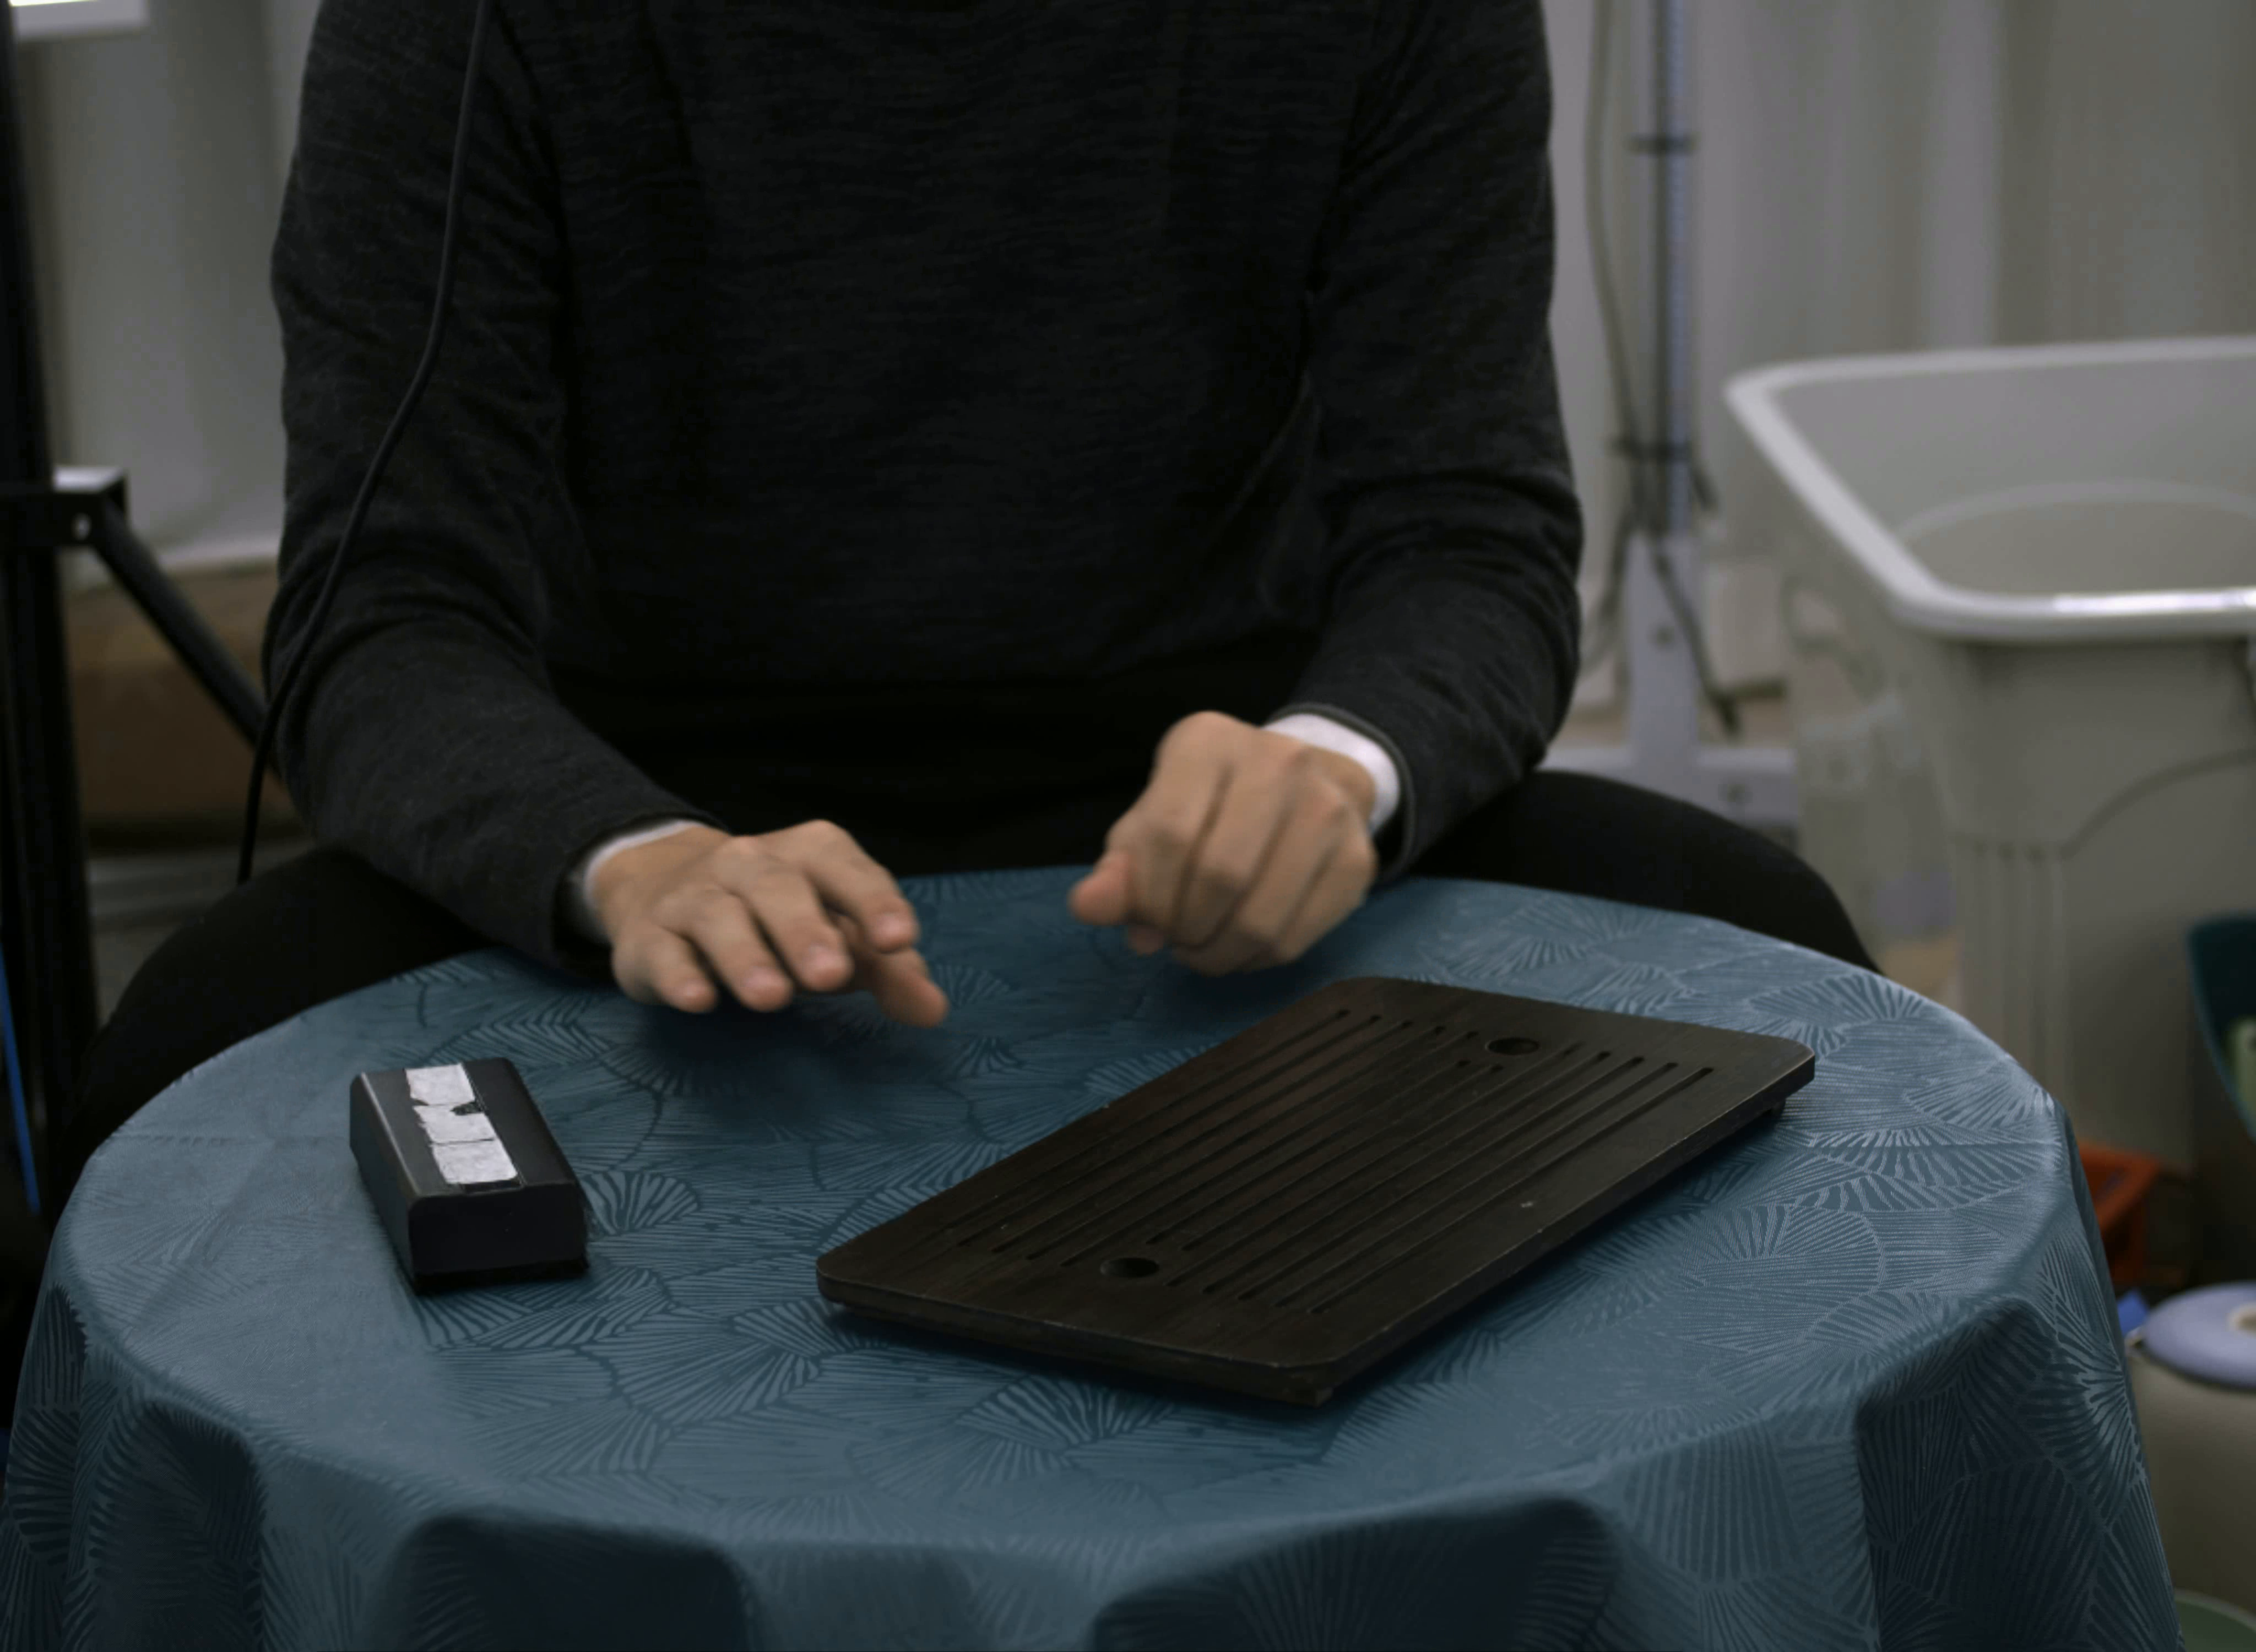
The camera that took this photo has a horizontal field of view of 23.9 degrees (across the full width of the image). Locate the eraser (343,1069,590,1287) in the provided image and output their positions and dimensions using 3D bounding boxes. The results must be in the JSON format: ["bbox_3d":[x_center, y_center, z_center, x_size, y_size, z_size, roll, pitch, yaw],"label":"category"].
[{"bbox_3d":[-0.194,0.102,1.560,0.052,0.030,0.127,-4,14,-15],"label":"eraser"}]

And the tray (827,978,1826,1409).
[{"bbox_3d":[0.064,0.103,1.533,0.173,0.018,0.300,8,19,33],"label":"tray"}]
